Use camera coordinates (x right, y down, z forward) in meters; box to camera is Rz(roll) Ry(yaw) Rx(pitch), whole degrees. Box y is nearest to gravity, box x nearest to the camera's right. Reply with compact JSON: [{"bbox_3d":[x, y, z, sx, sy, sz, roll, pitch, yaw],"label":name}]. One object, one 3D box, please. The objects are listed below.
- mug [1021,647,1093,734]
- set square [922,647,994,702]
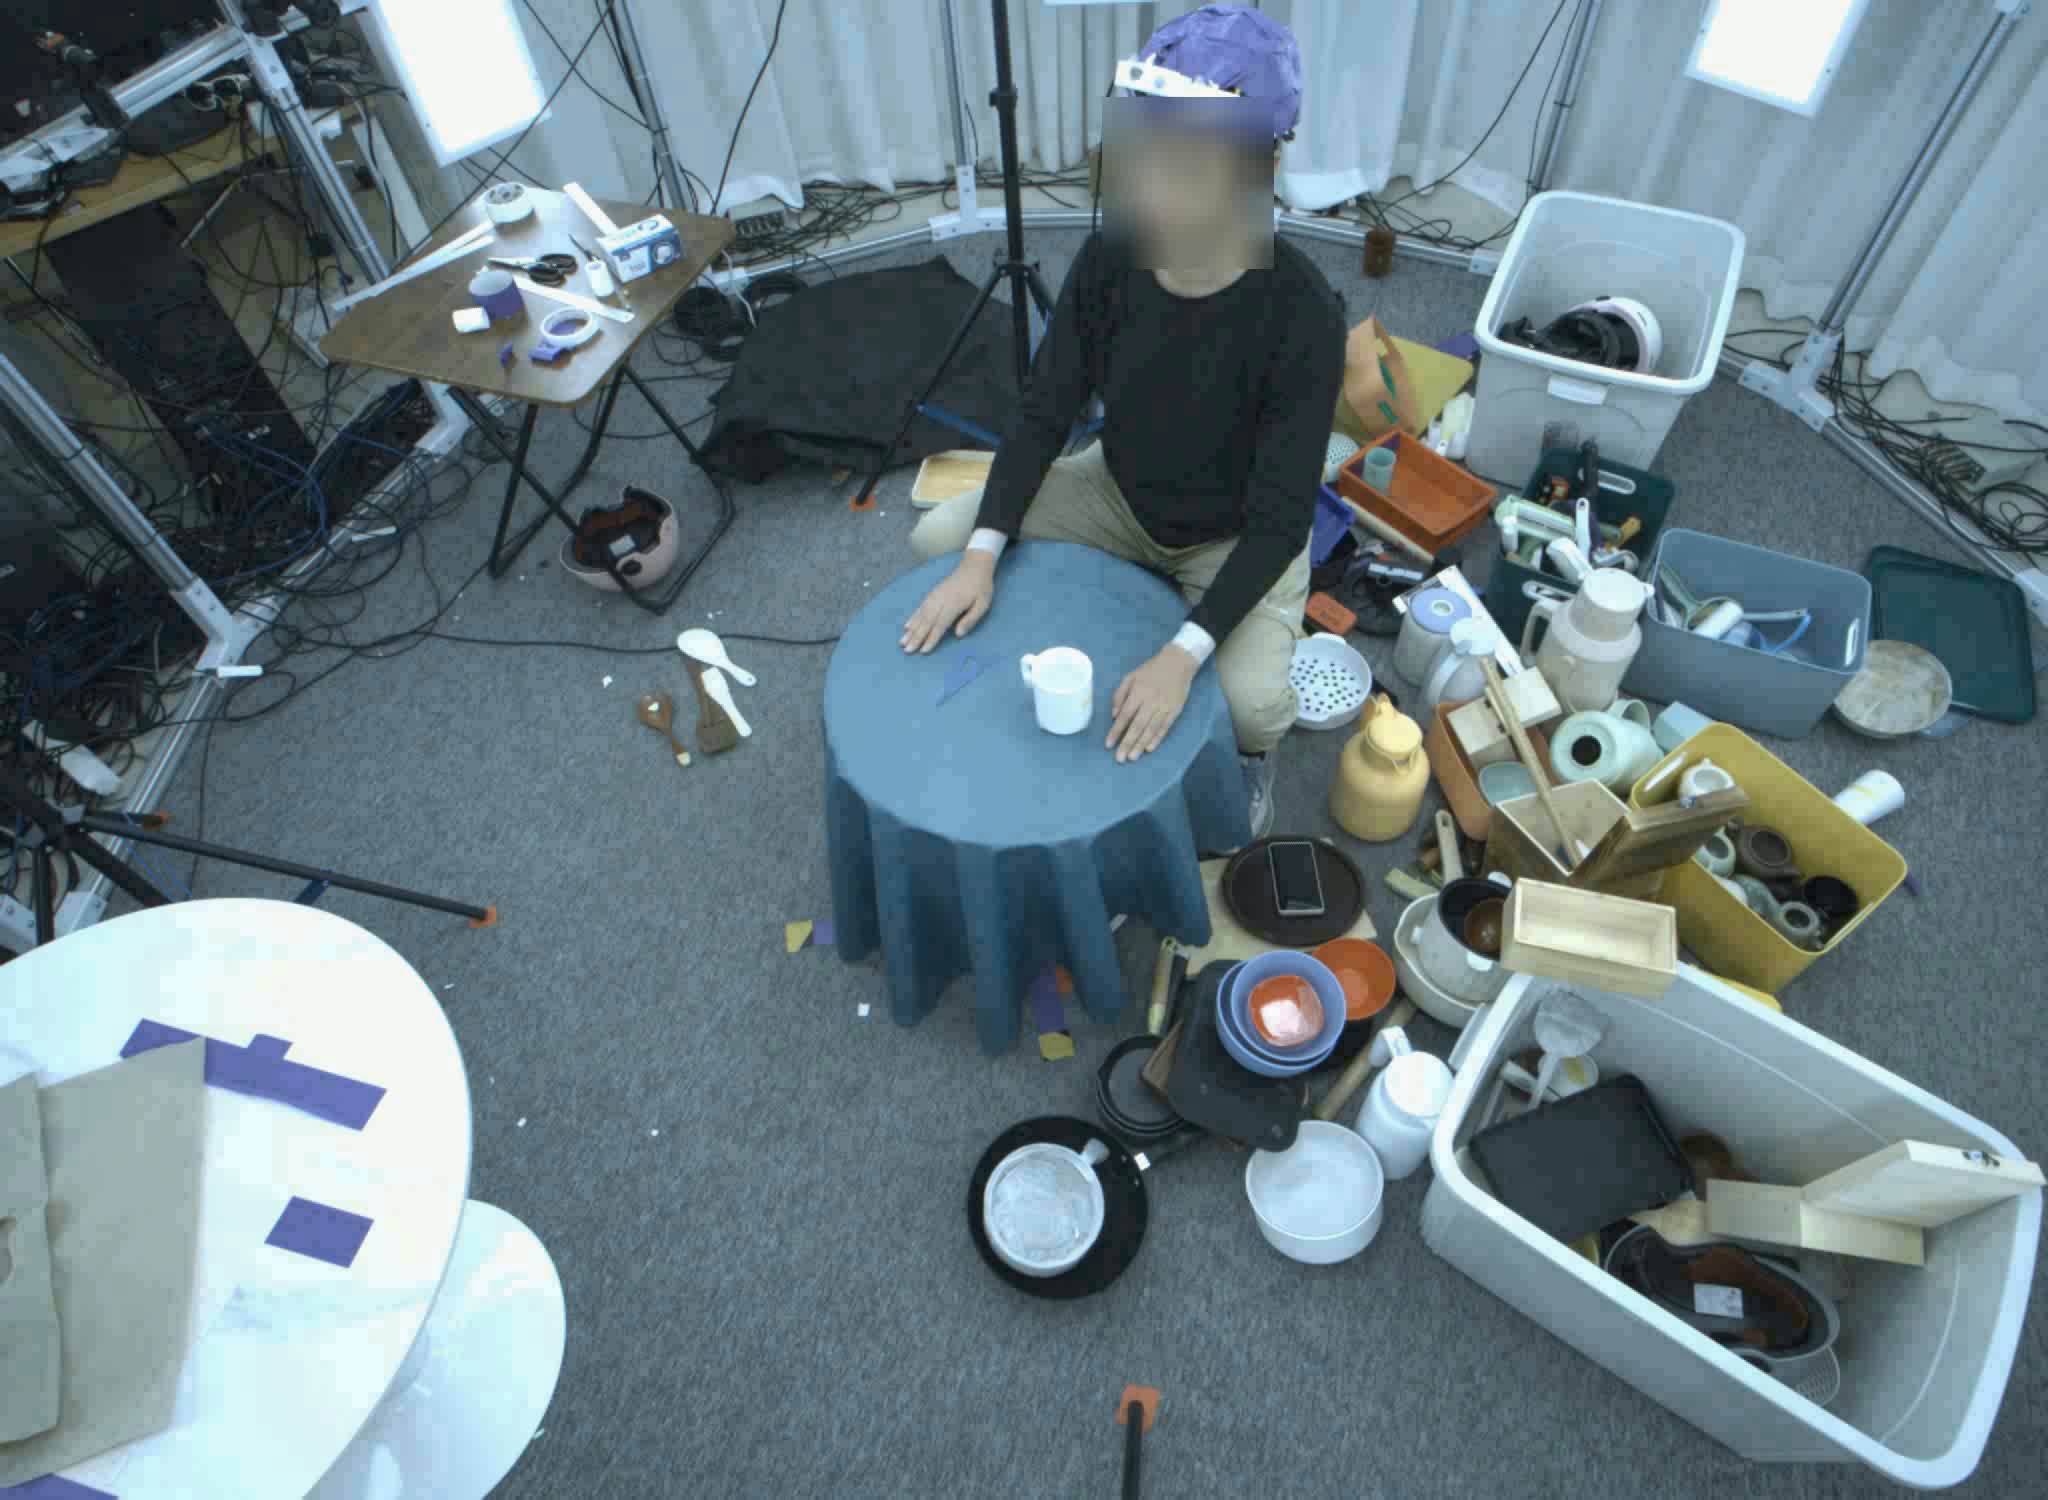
[{"bbox_3d":[0.045,-0.093,1.788,0.116,0.103,0.085,33,63,23],"label":"mug"},{"bbox_3d":[-0.114,-0.123,1.876,0.133,0.006,0.060,-35,63,-21],"label":"set square"}]
